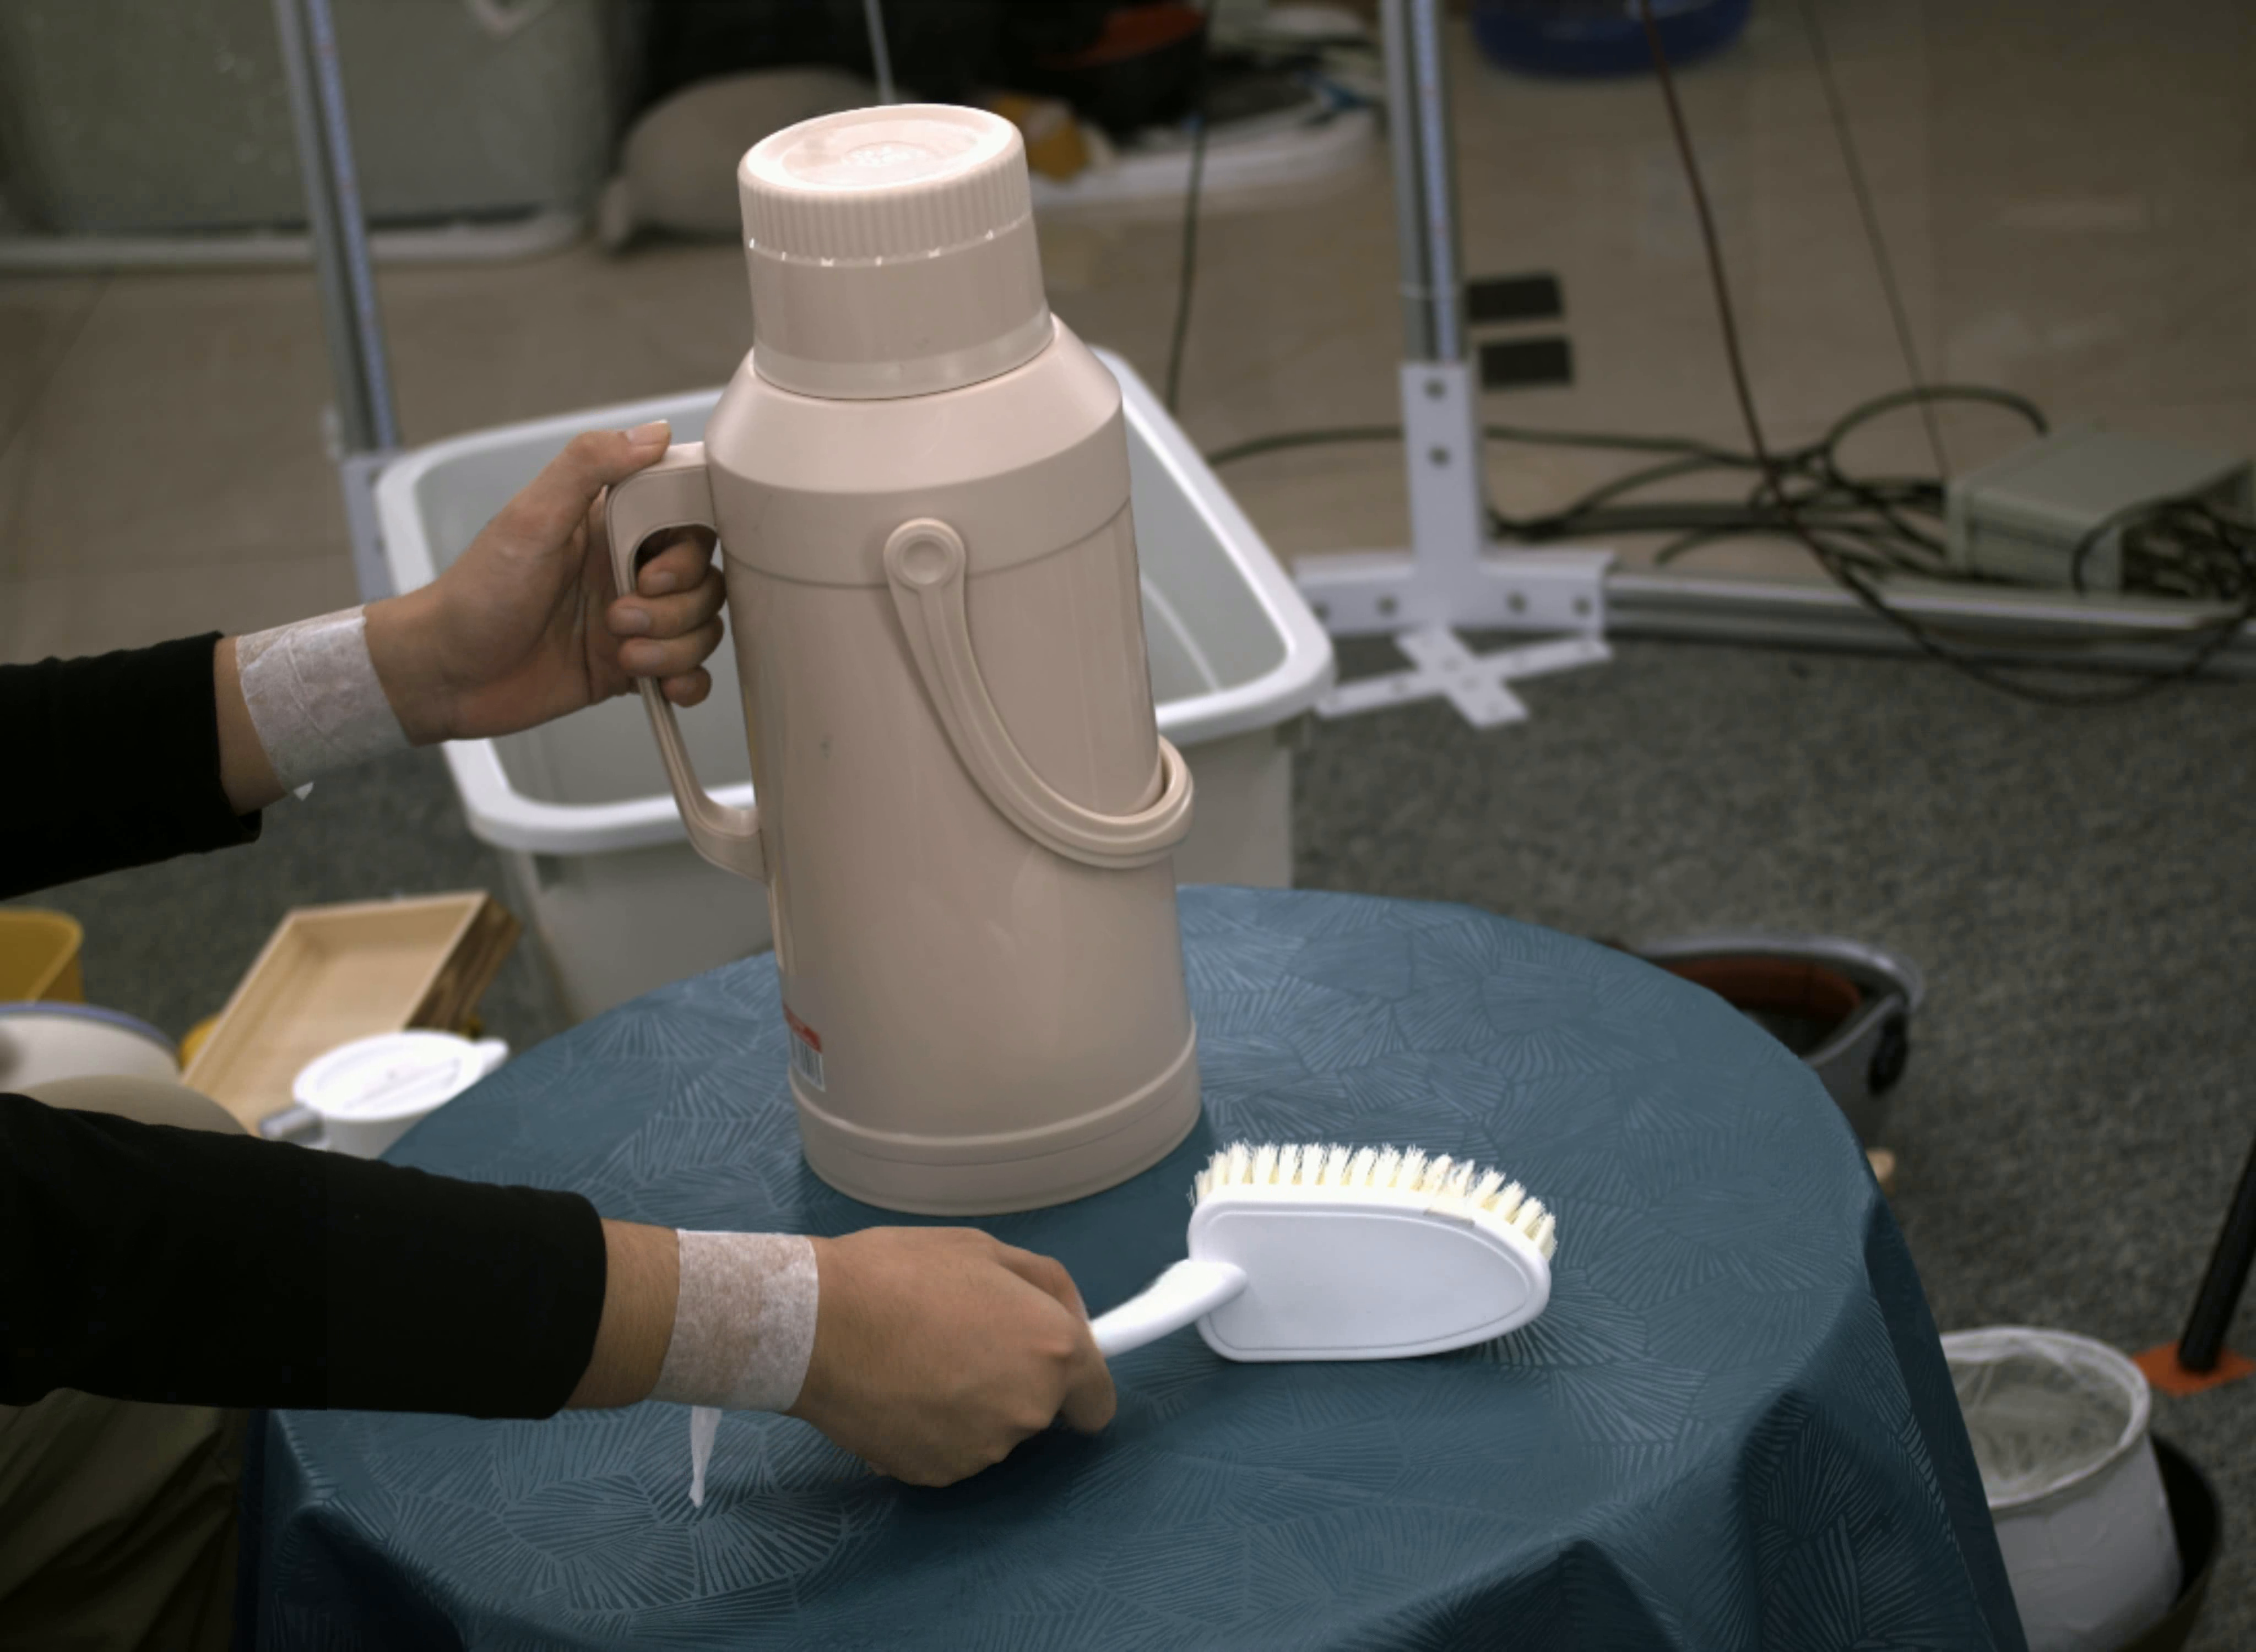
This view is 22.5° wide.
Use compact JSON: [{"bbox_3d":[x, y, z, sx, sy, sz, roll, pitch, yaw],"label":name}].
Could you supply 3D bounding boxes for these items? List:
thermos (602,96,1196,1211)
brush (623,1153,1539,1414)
[{"bbox_3d":[-0.085,-0.064,2.127,0.206,0.413,0.172,-7,27,-1],"label":"thermos"},{"bbox_3d":[-0.017,0.160,2.011,0.325,0.082,0.085,-5,-14,-1],"label":"brush"}]
